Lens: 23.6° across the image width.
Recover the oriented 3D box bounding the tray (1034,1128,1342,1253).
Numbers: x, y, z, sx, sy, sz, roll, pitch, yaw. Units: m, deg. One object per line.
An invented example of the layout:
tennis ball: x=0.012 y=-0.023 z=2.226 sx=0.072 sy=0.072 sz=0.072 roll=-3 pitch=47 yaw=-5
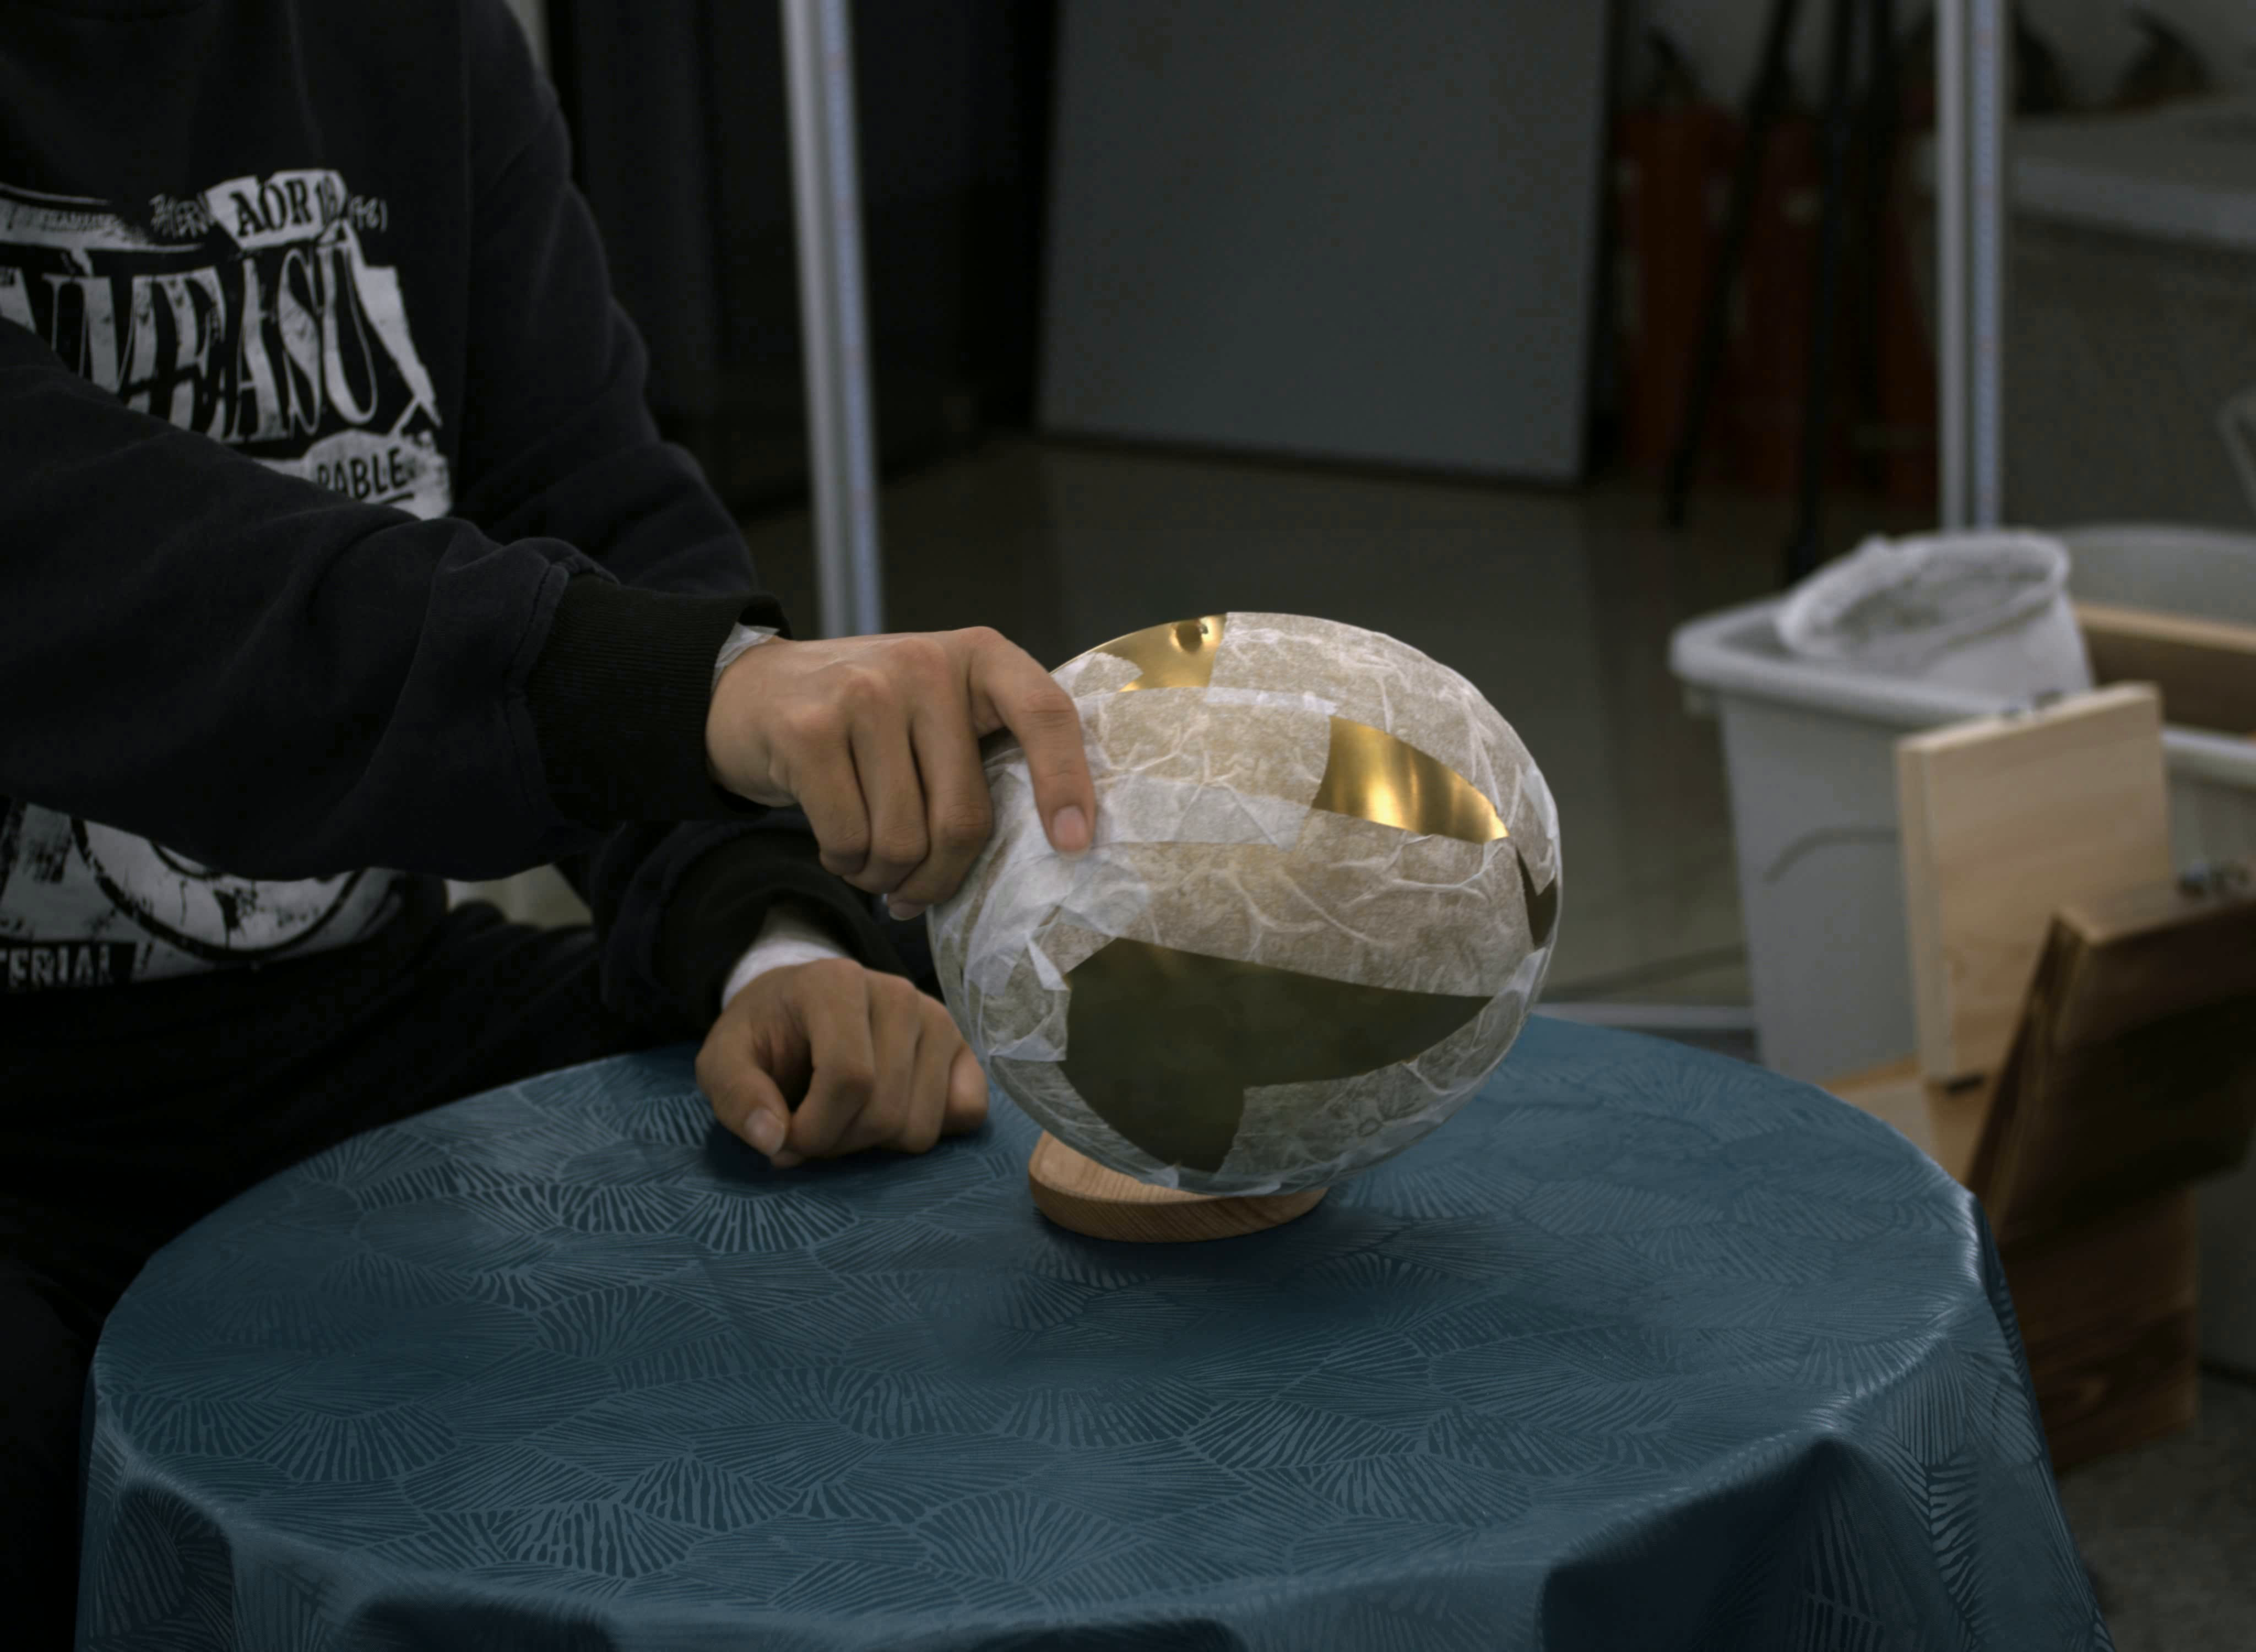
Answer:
tray: x=0.028 y=0.100 z=1.817 sx=0.101 sy=0.020 sz=0.230 roll=-4 pitch=15 yaw=9

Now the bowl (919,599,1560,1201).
bowl: x=0.034 y=0.044 z=1.648 sx=0.212 sy=0.216 sz=0.095 roll=-3 pitch=35 yaw=2
